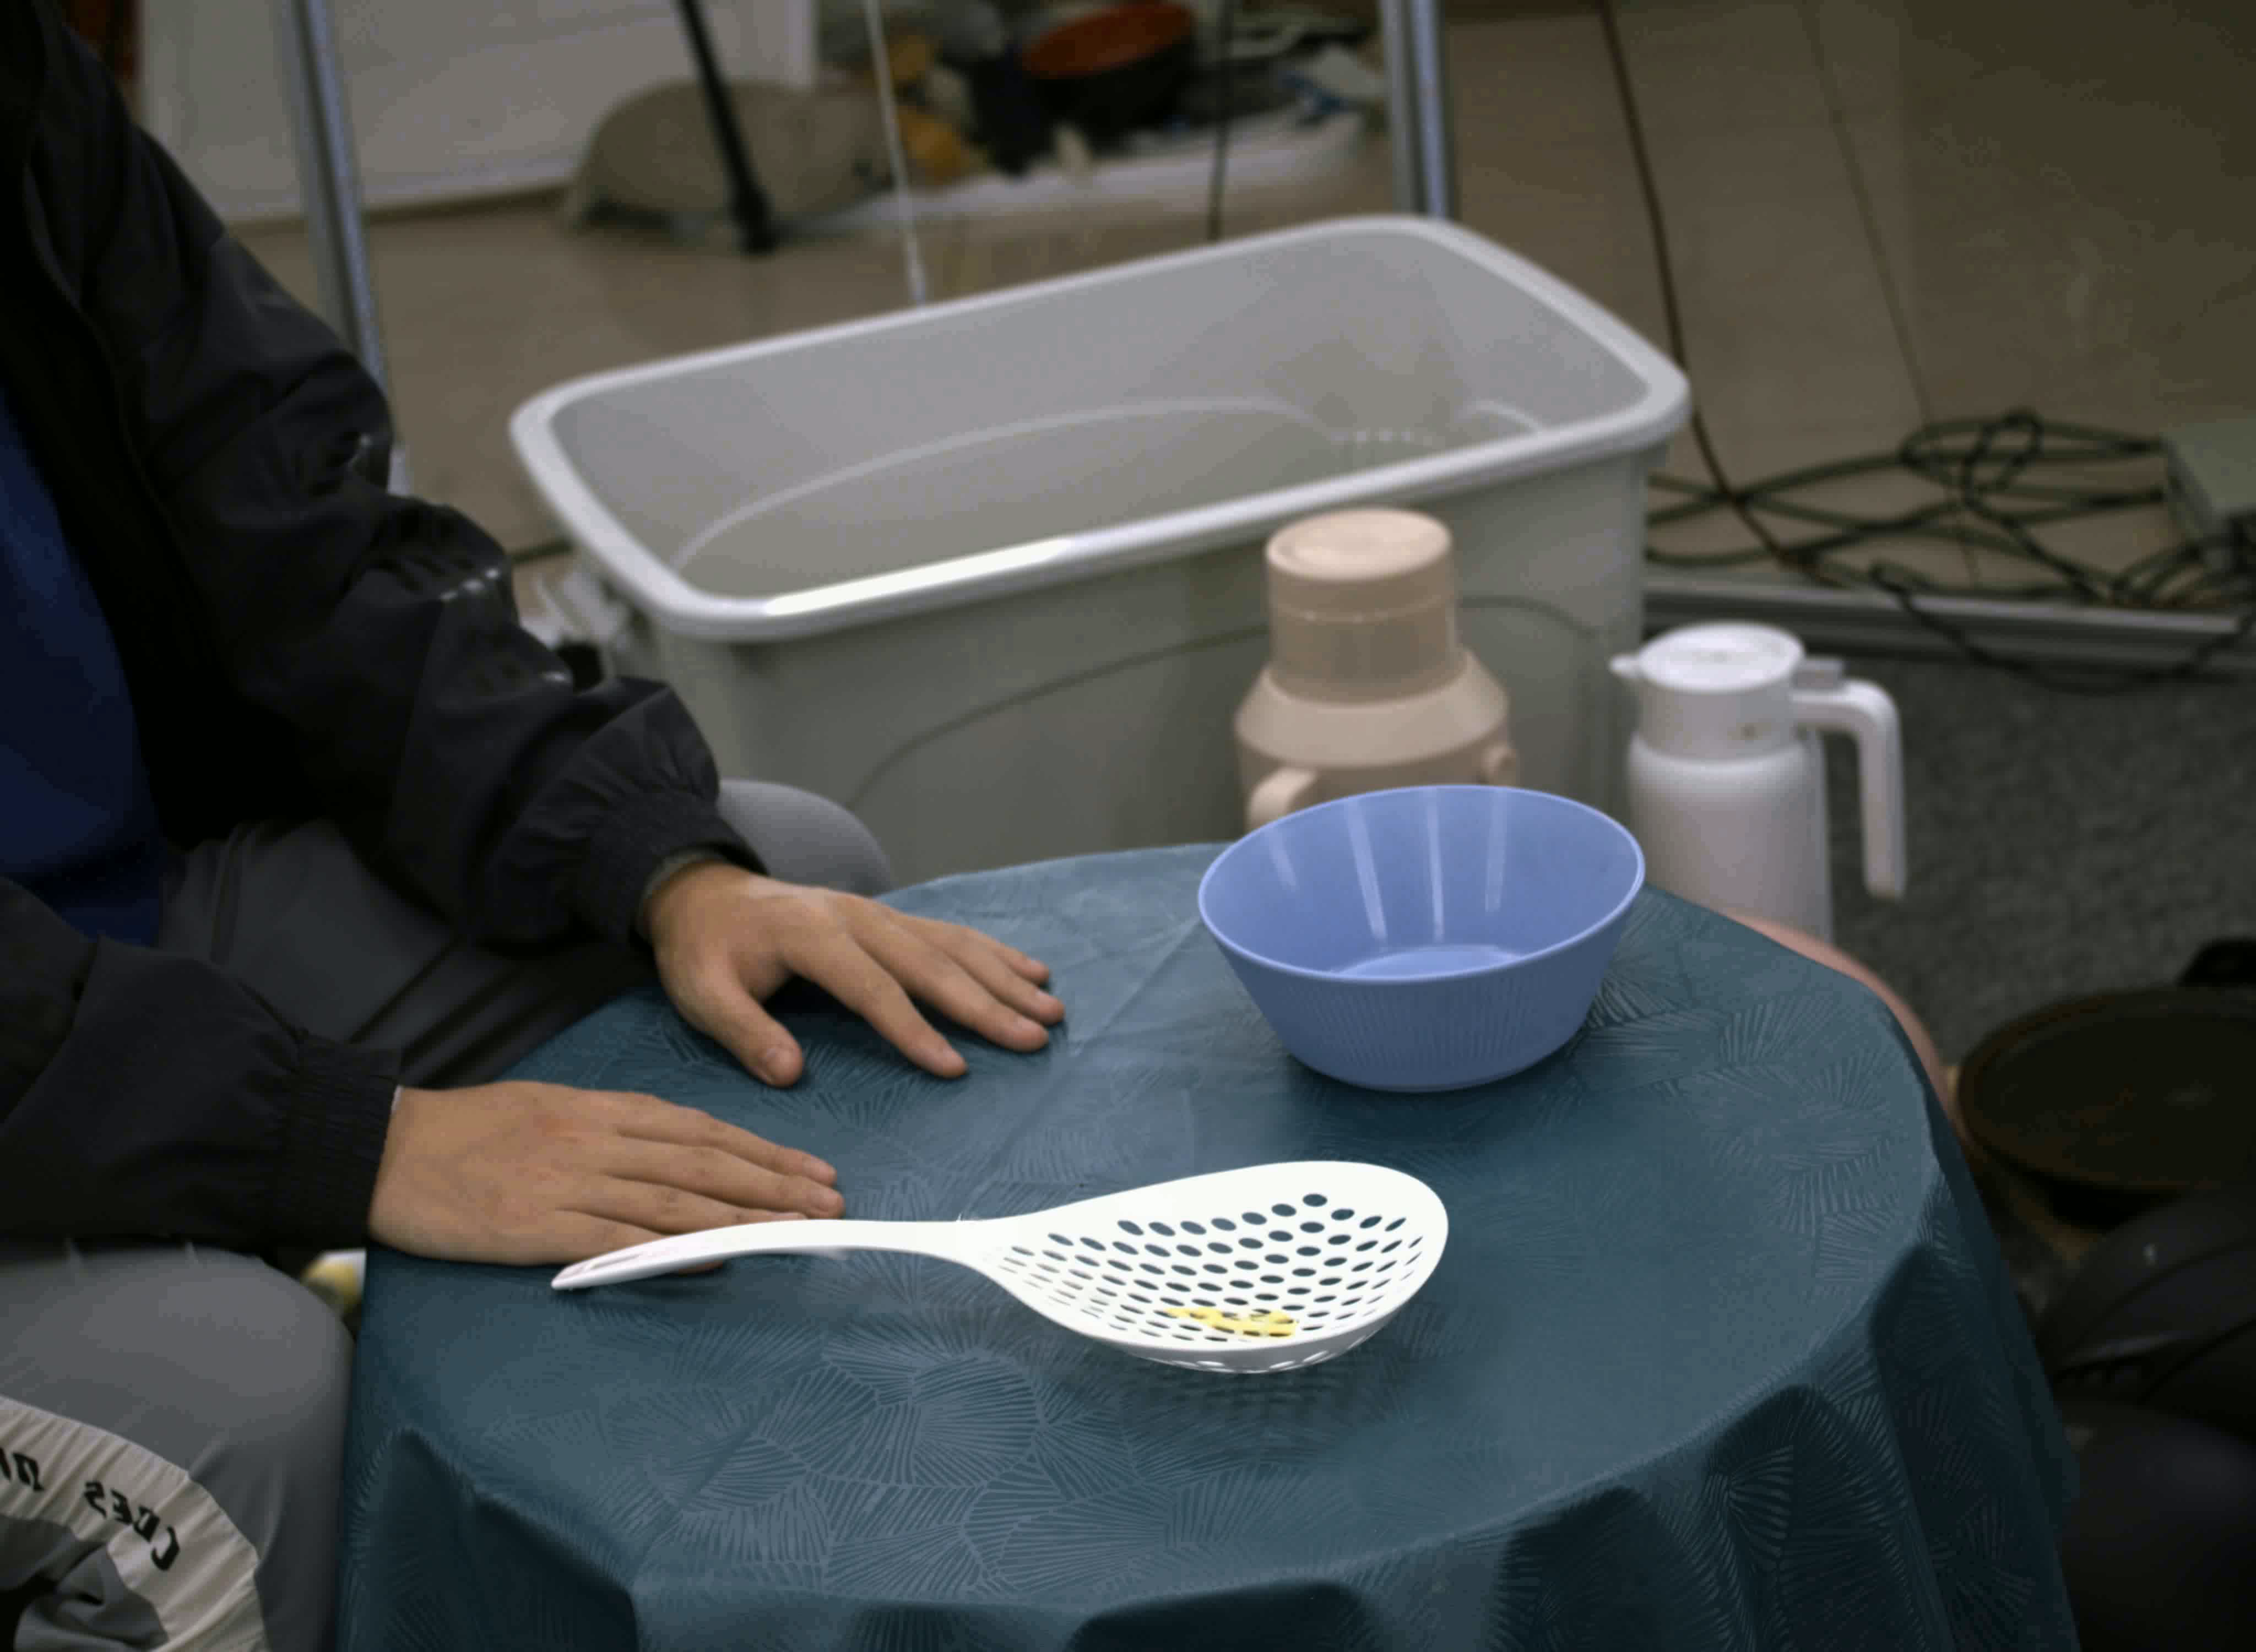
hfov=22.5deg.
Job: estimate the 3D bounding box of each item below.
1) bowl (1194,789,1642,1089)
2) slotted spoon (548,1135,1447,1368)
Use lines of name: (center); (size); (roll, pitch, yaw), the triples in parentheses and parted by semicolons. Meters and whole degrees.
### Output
bowl: (0.116, 0.049, 2.226); (0.176, 0.071, 0.173); (-6, 24, 3)
slotted spoon: (-0.053, 0.161, 2.062); (0.347, 0.051, 0.135); (2, 30, 19)
